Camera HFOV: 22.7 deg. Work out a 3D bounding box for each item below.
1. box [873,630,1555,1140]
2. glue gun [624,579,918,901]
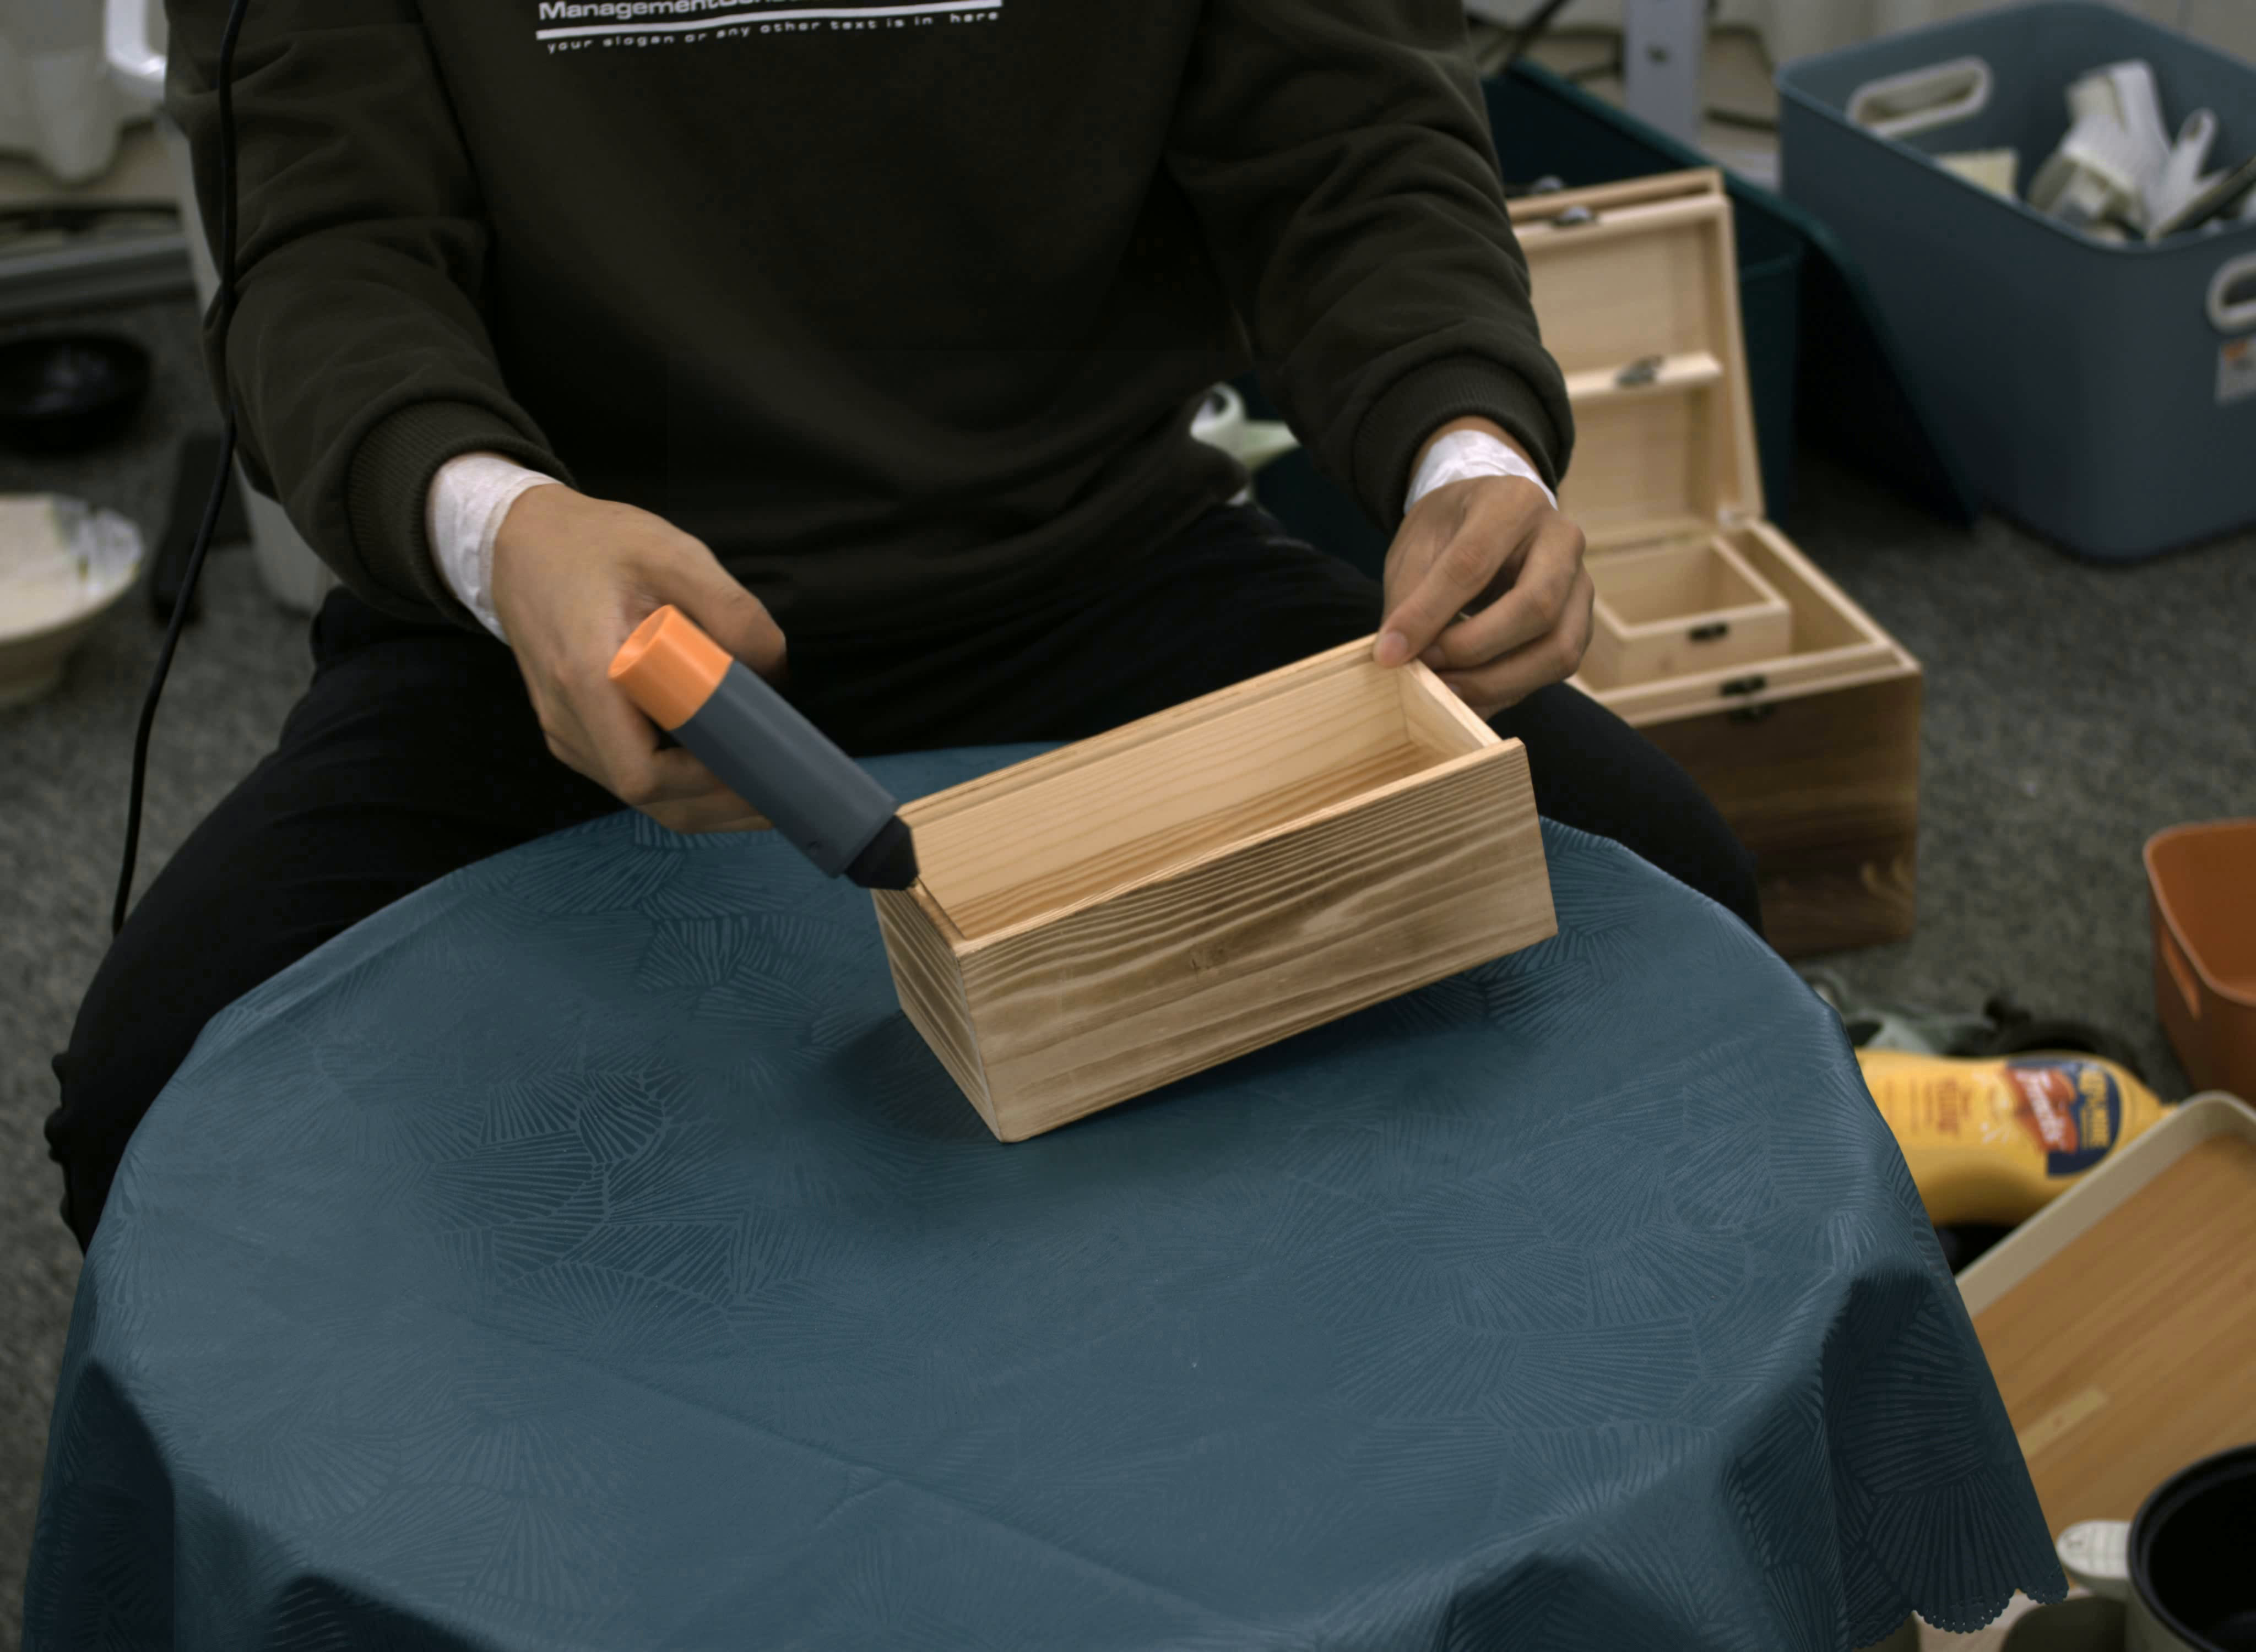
[{"bbox_3d":[0.027,0.018,1.947,0.212,0.079,0.108,-20,30,-15],"label":"box"},{"bbox_3d":[-0.122,-0.031,1.893,0.041,0.117,0.140,-44,18,1],"label":"glue gun"}]
